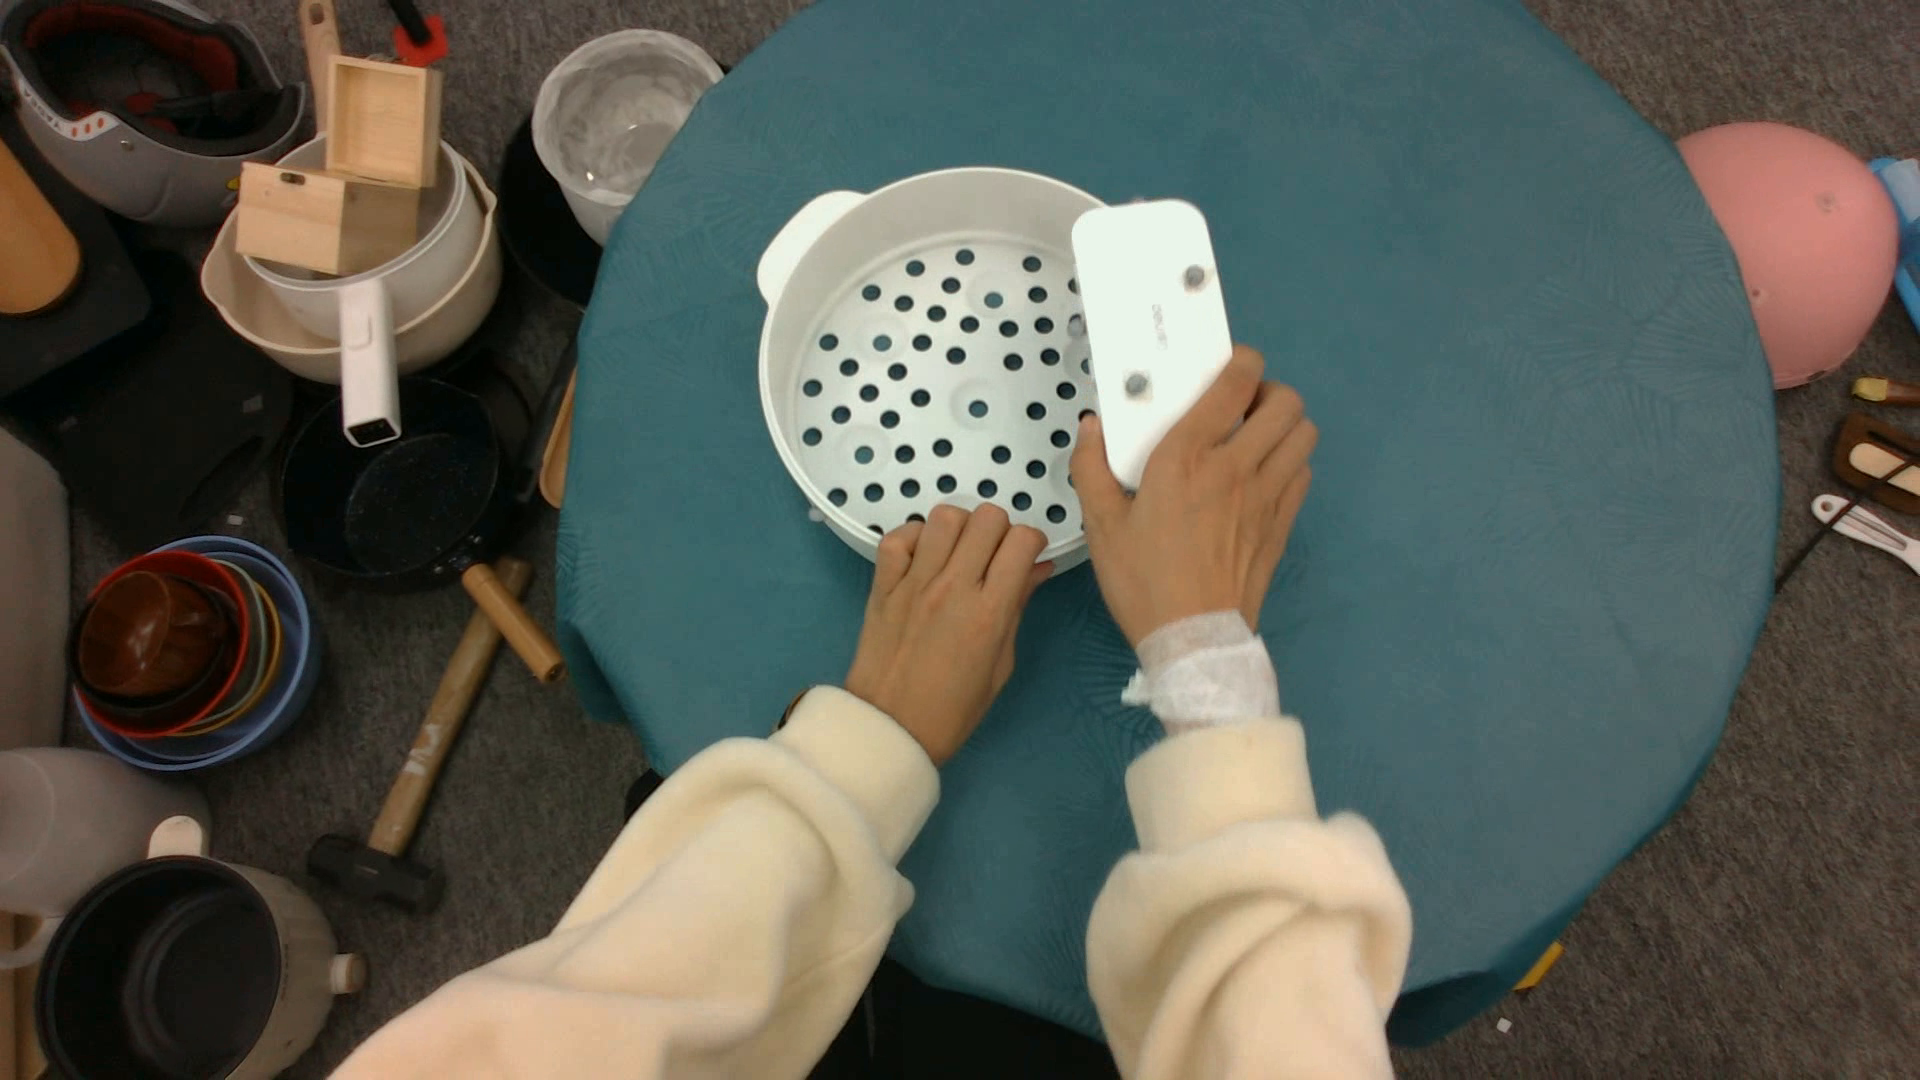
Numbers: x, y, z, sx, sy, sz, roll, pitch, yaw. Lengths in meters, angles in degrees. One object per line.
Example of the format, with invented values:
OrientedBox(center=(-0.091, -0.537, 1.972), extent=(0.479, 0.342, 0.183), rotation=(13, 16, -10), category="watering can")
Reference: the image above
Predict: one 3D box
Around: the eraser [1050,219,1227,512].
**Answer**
OrientedBox(center=(0.075, -0.077, 0.603), extent=(0.063, 0.034, 0.131), rotation=(-6, 75, -7), category="eraser")

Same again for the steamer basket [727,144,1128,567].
OrientedBox(center=(-0.005, -0.086, 0.658), extent=(0.230, 0.069, 0.202), rotation=(35, 76, 11), category="steamer basket")
